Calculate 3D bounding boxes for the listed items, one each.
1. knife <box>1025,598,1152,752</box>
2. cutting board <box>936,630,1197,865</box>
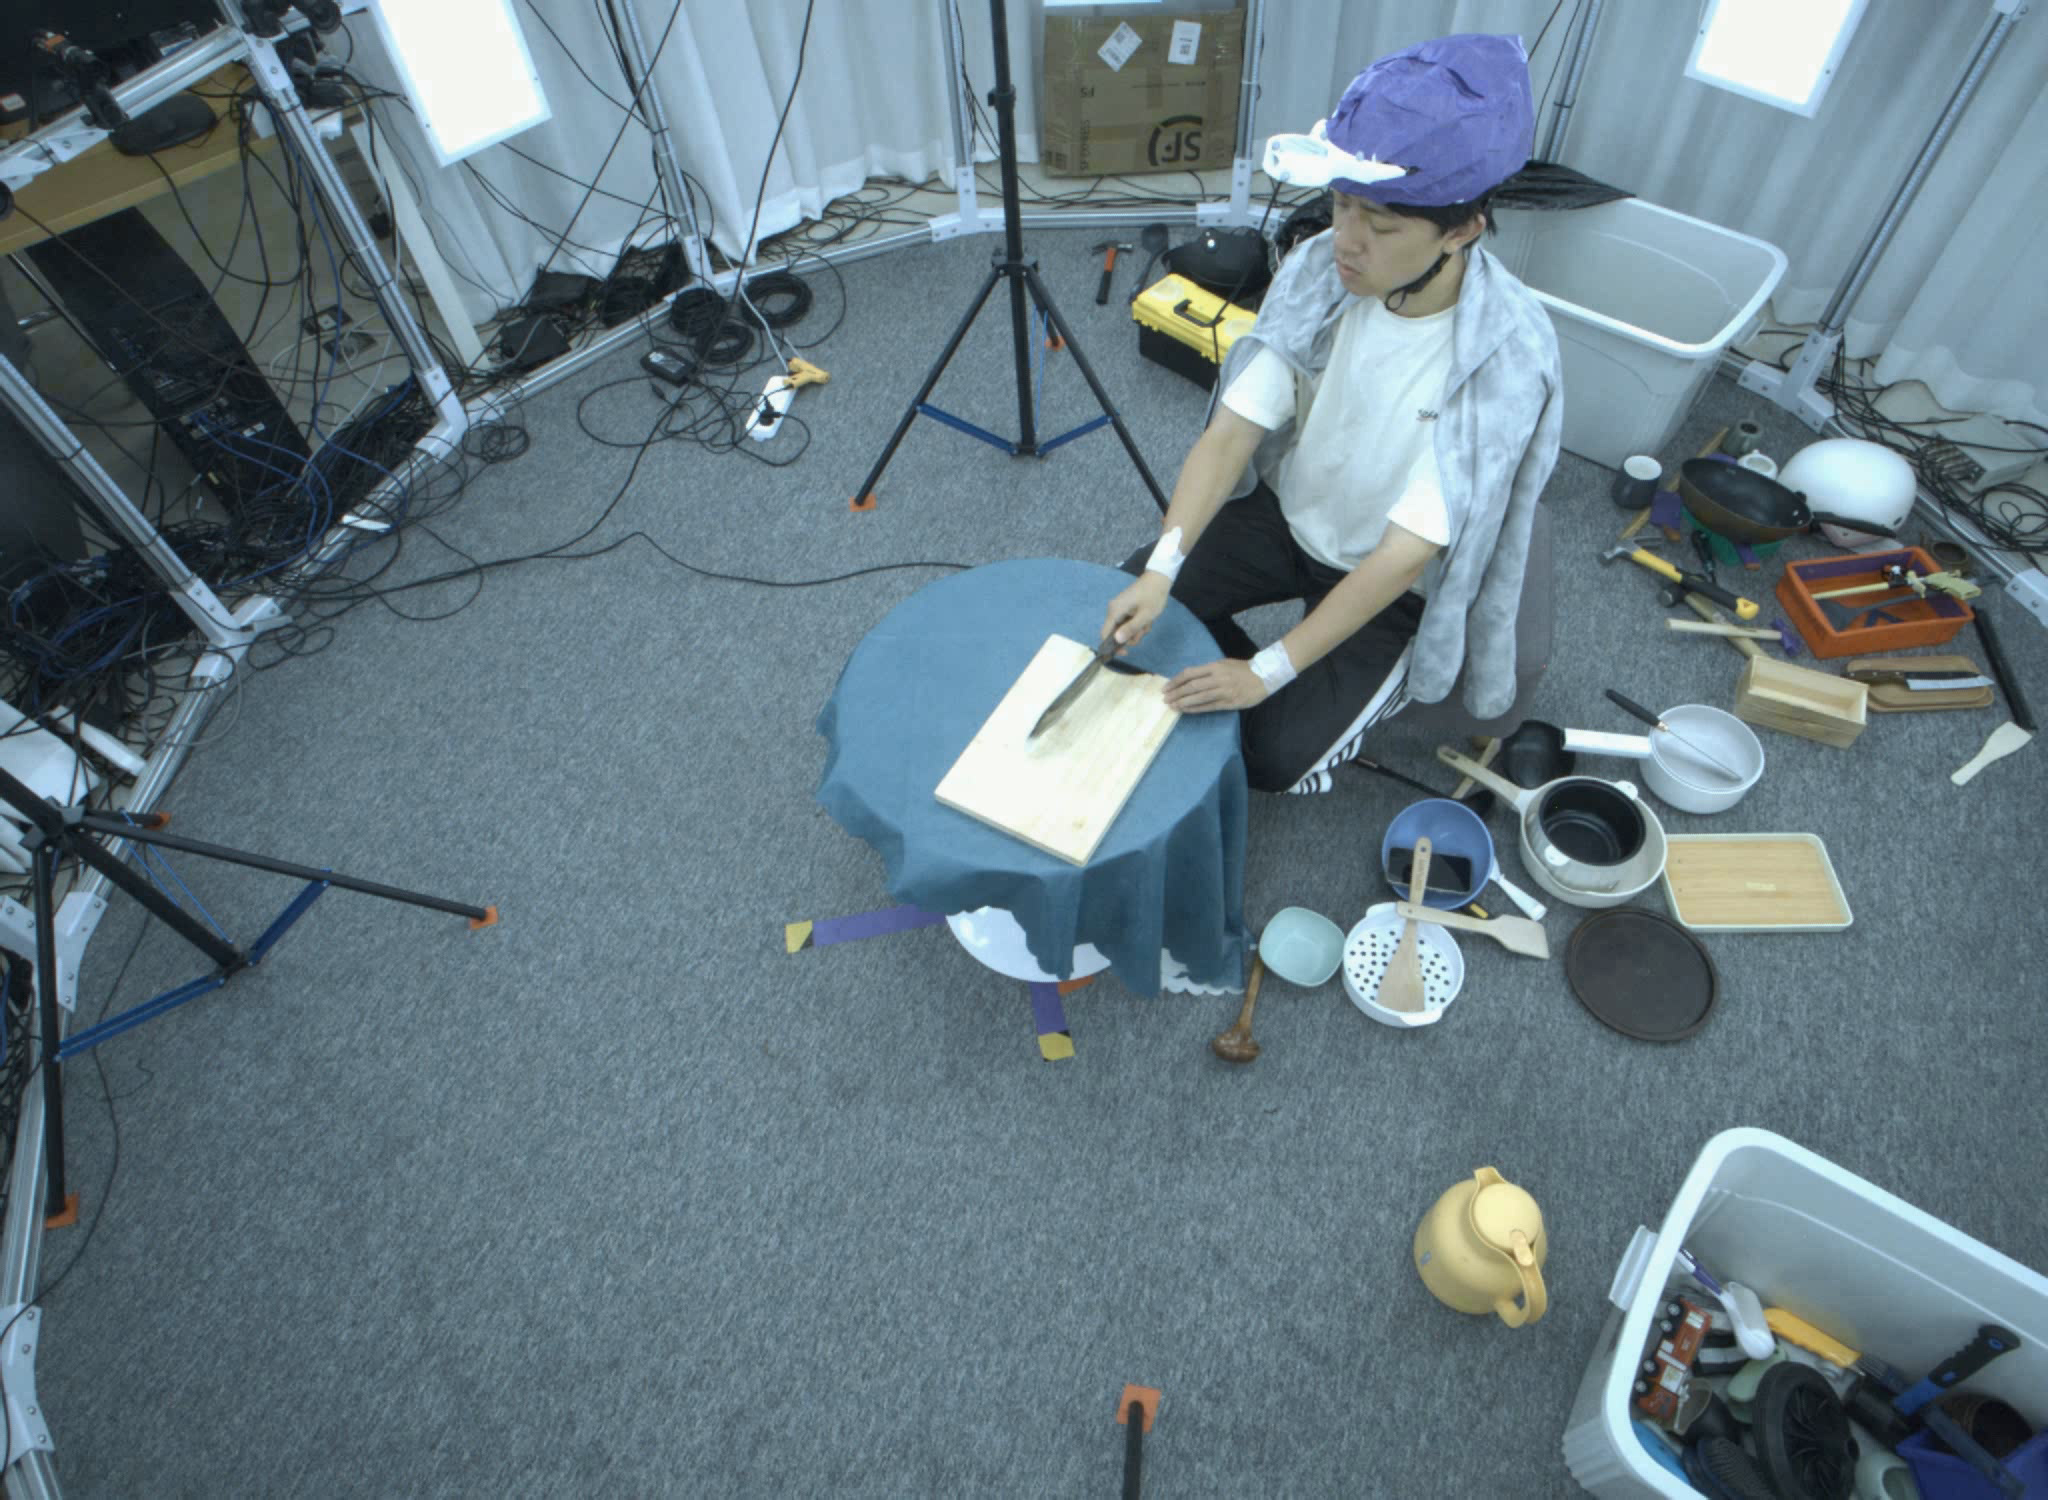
[{"bbox_3d":[0.094,-0.110,1.797,0.023,0.068,0.301,34,66,18],"label":"knife"},{"bbox_3d":[0.065,-0.014,1.788,0.247,0.024,0.349,24,59,17],"label":"cutting board"}]
